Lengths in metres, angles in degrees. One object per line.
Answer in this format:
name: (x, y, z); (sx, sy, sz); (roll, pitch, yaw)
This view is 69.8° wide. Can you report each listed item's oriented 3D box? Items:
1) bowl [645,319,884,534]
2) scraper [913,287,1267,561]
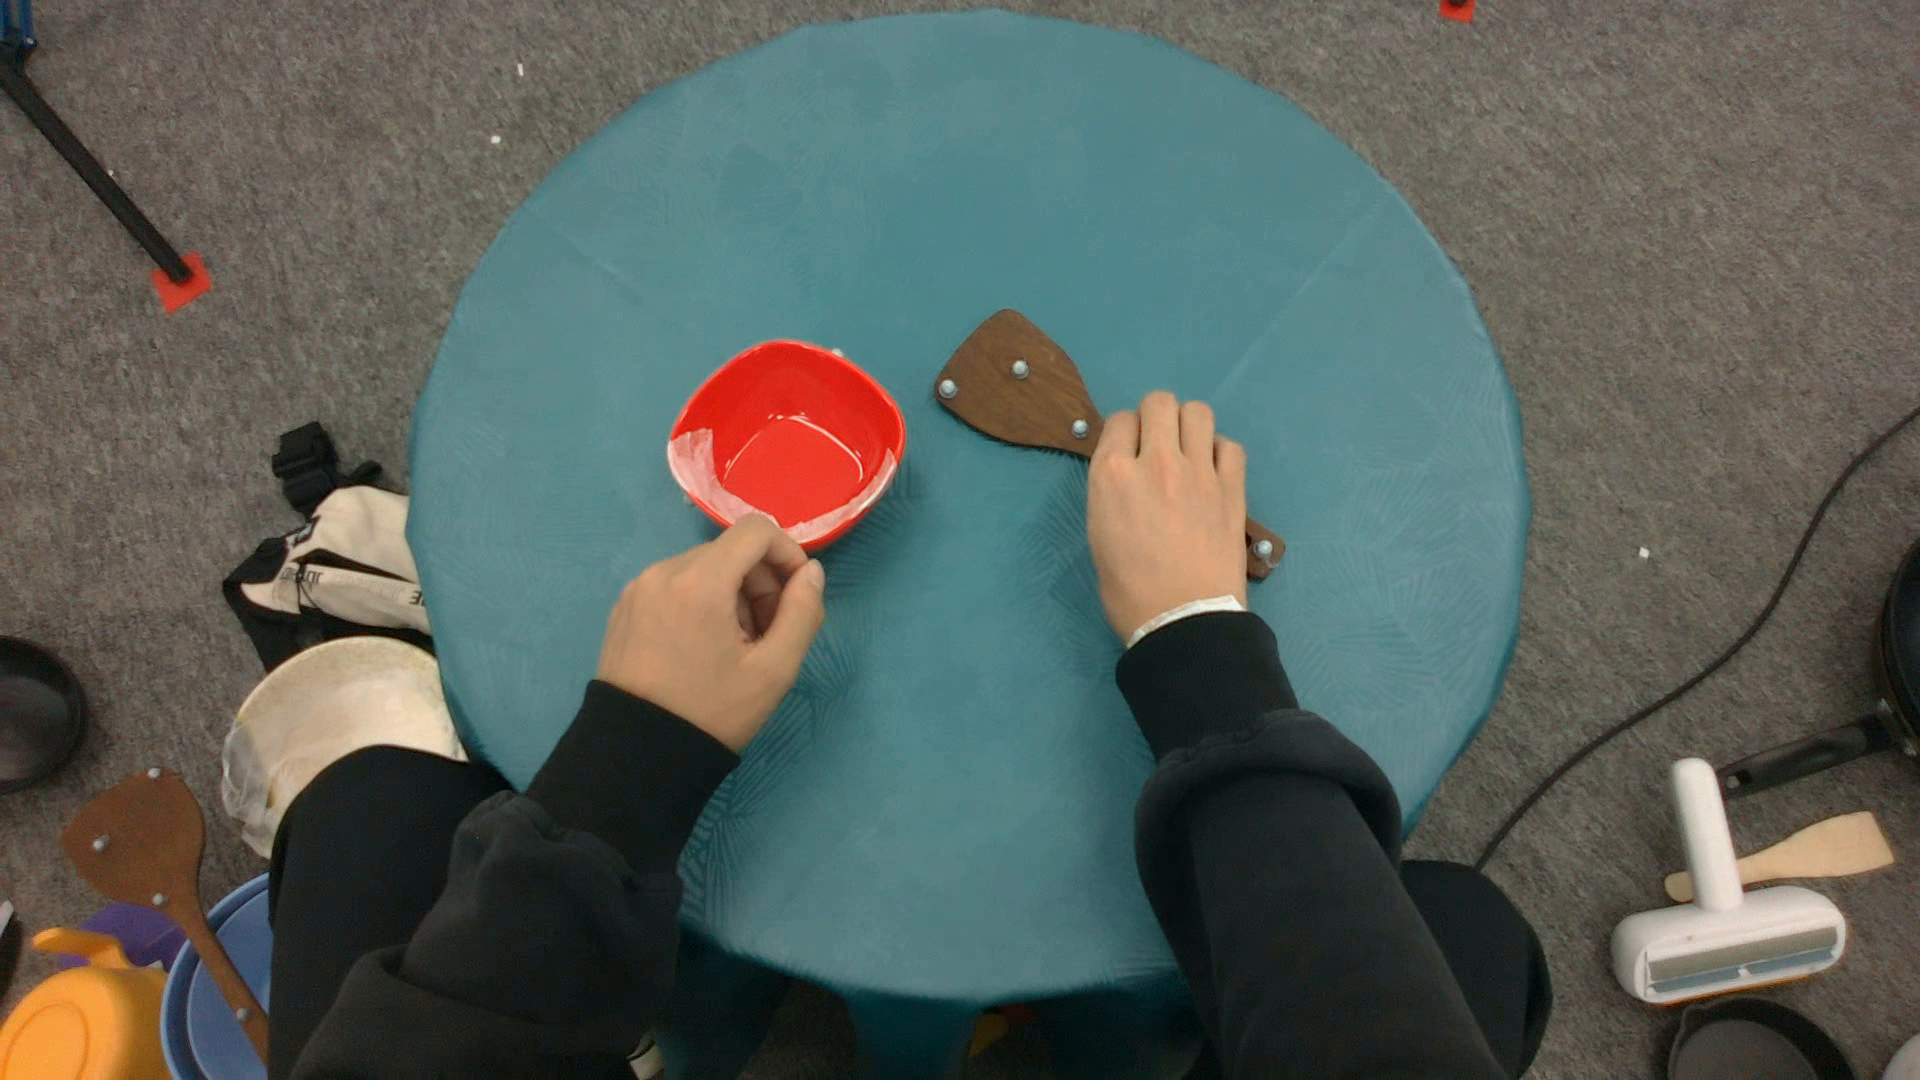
bowl: (-0.098, -0.050, 0.707); (0.119, 0.051, 0.119); (1, 65, -3)
scraper: (0.073, -0.057, 0.740); (0.211, 0.011, 0.076); (37, 71, 12)
